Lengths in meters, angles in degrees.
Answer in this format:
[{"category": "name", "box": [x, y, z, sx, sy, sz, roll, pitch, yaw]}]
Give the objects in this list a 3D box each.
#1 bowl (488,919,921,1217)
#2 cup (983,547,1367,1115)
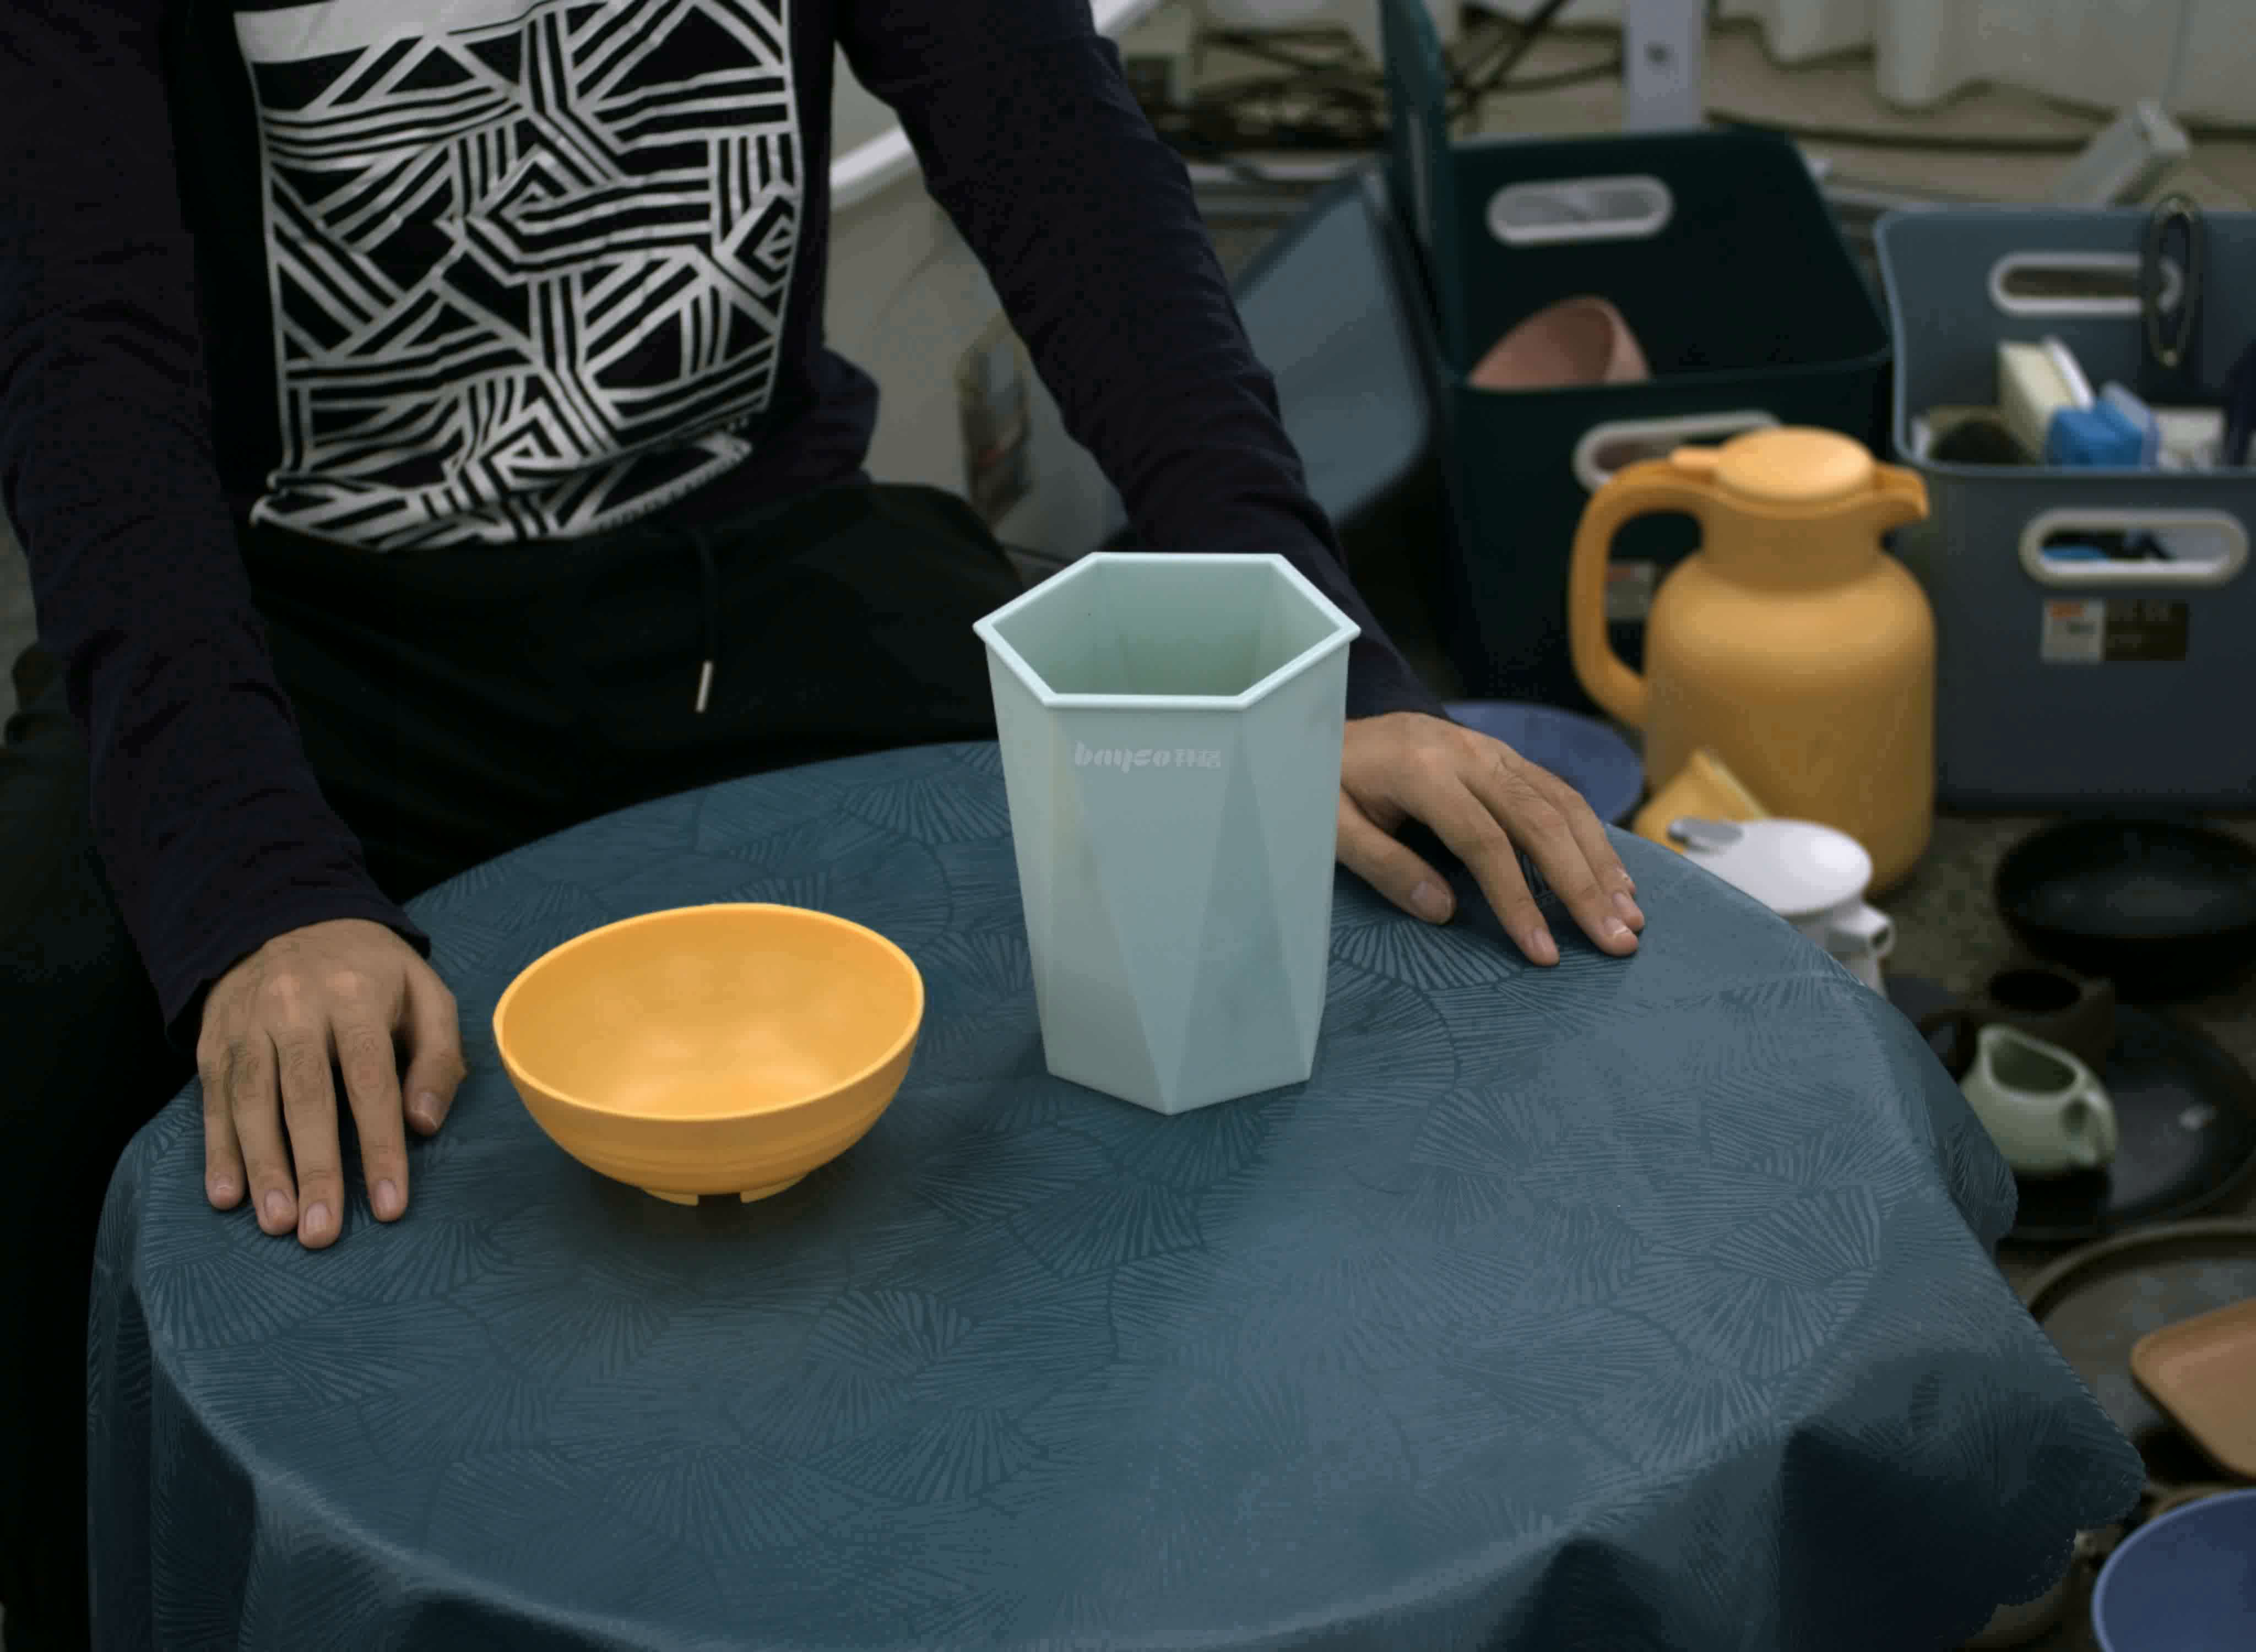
[{"category": "bowl", "box": [-0.140, 0.089, 1.878, 0.144, 0.059, 0.147, -2, 24, 1]}, {"category": "cup", "box": [0.019, 0.003, 1.912, 0.130, 0.161, 0.117, 1, 25, 6]}]
